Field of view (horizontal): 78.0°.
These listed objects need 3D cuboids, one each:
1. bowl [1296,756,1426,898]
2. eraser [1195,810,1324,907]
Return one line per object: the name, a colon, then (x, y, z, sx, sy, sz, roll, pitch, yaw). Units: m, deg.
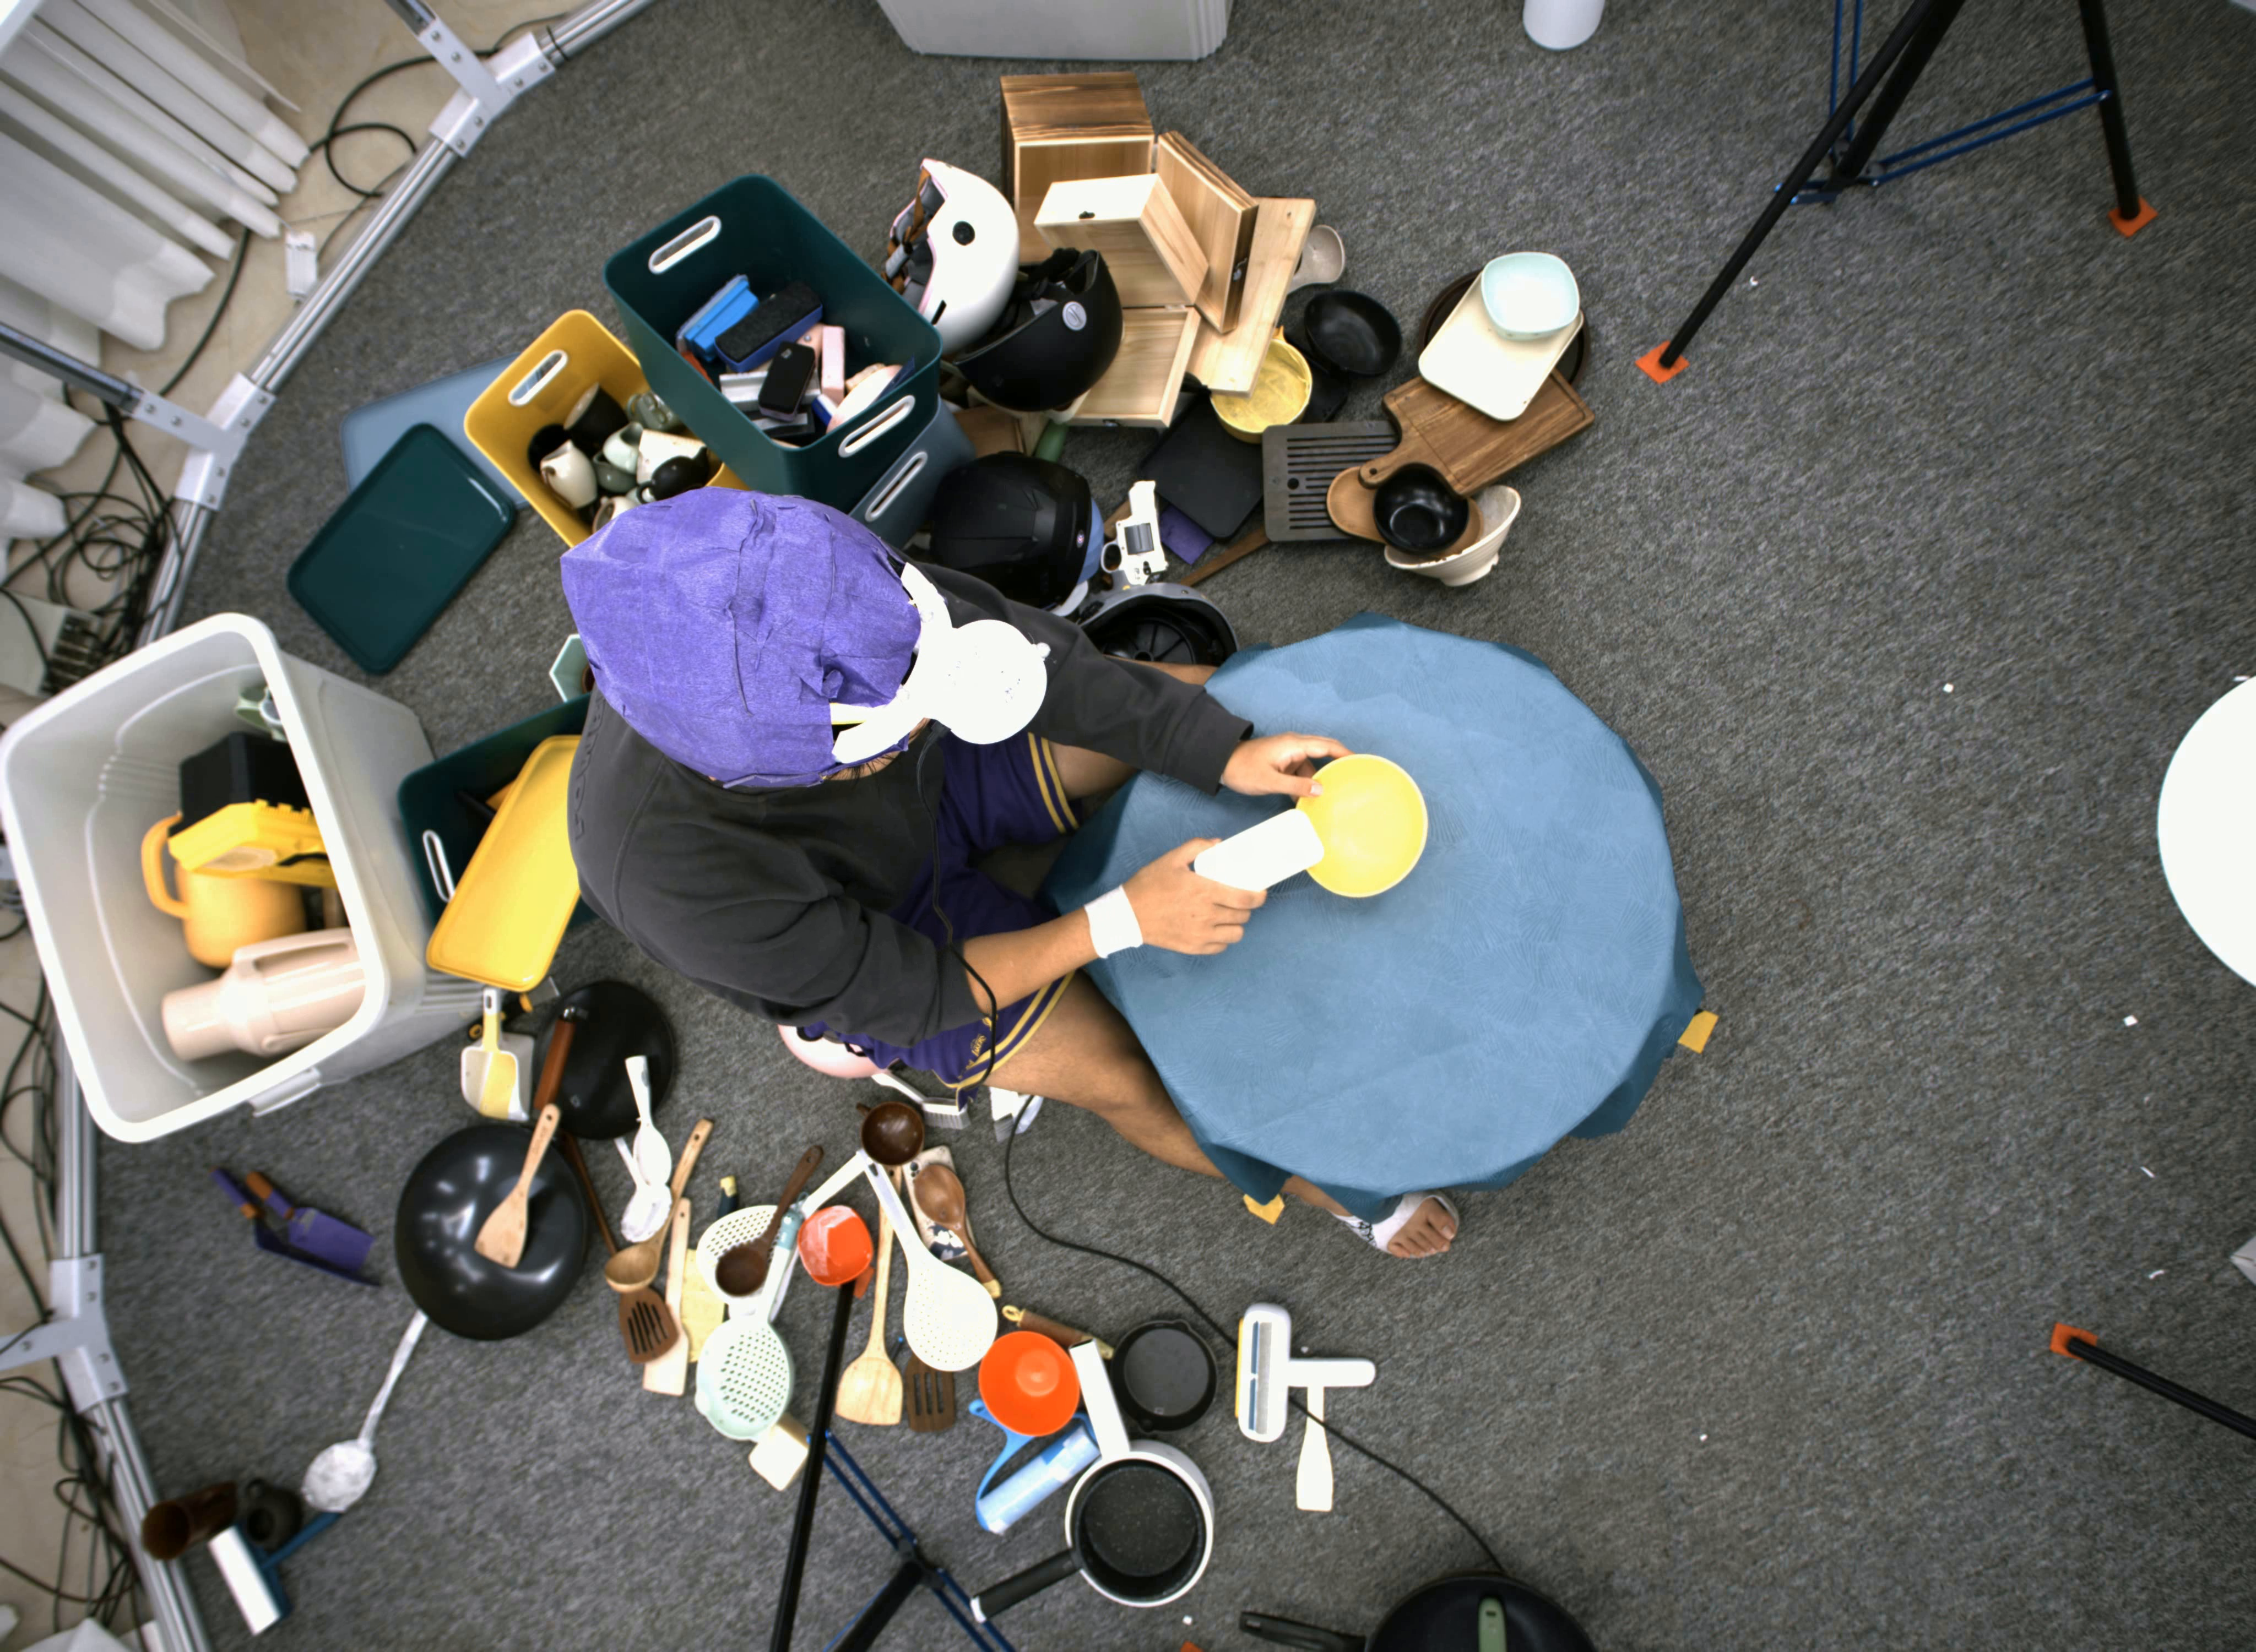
bowl: (0.248, 0.002, 1.422, 0.146, 0.060, 0.145, -3, 86, 34)
eraser: (0.132, 0.032, 1.405, 0.130, 0.035, 0.063, -24, 83, -12)
